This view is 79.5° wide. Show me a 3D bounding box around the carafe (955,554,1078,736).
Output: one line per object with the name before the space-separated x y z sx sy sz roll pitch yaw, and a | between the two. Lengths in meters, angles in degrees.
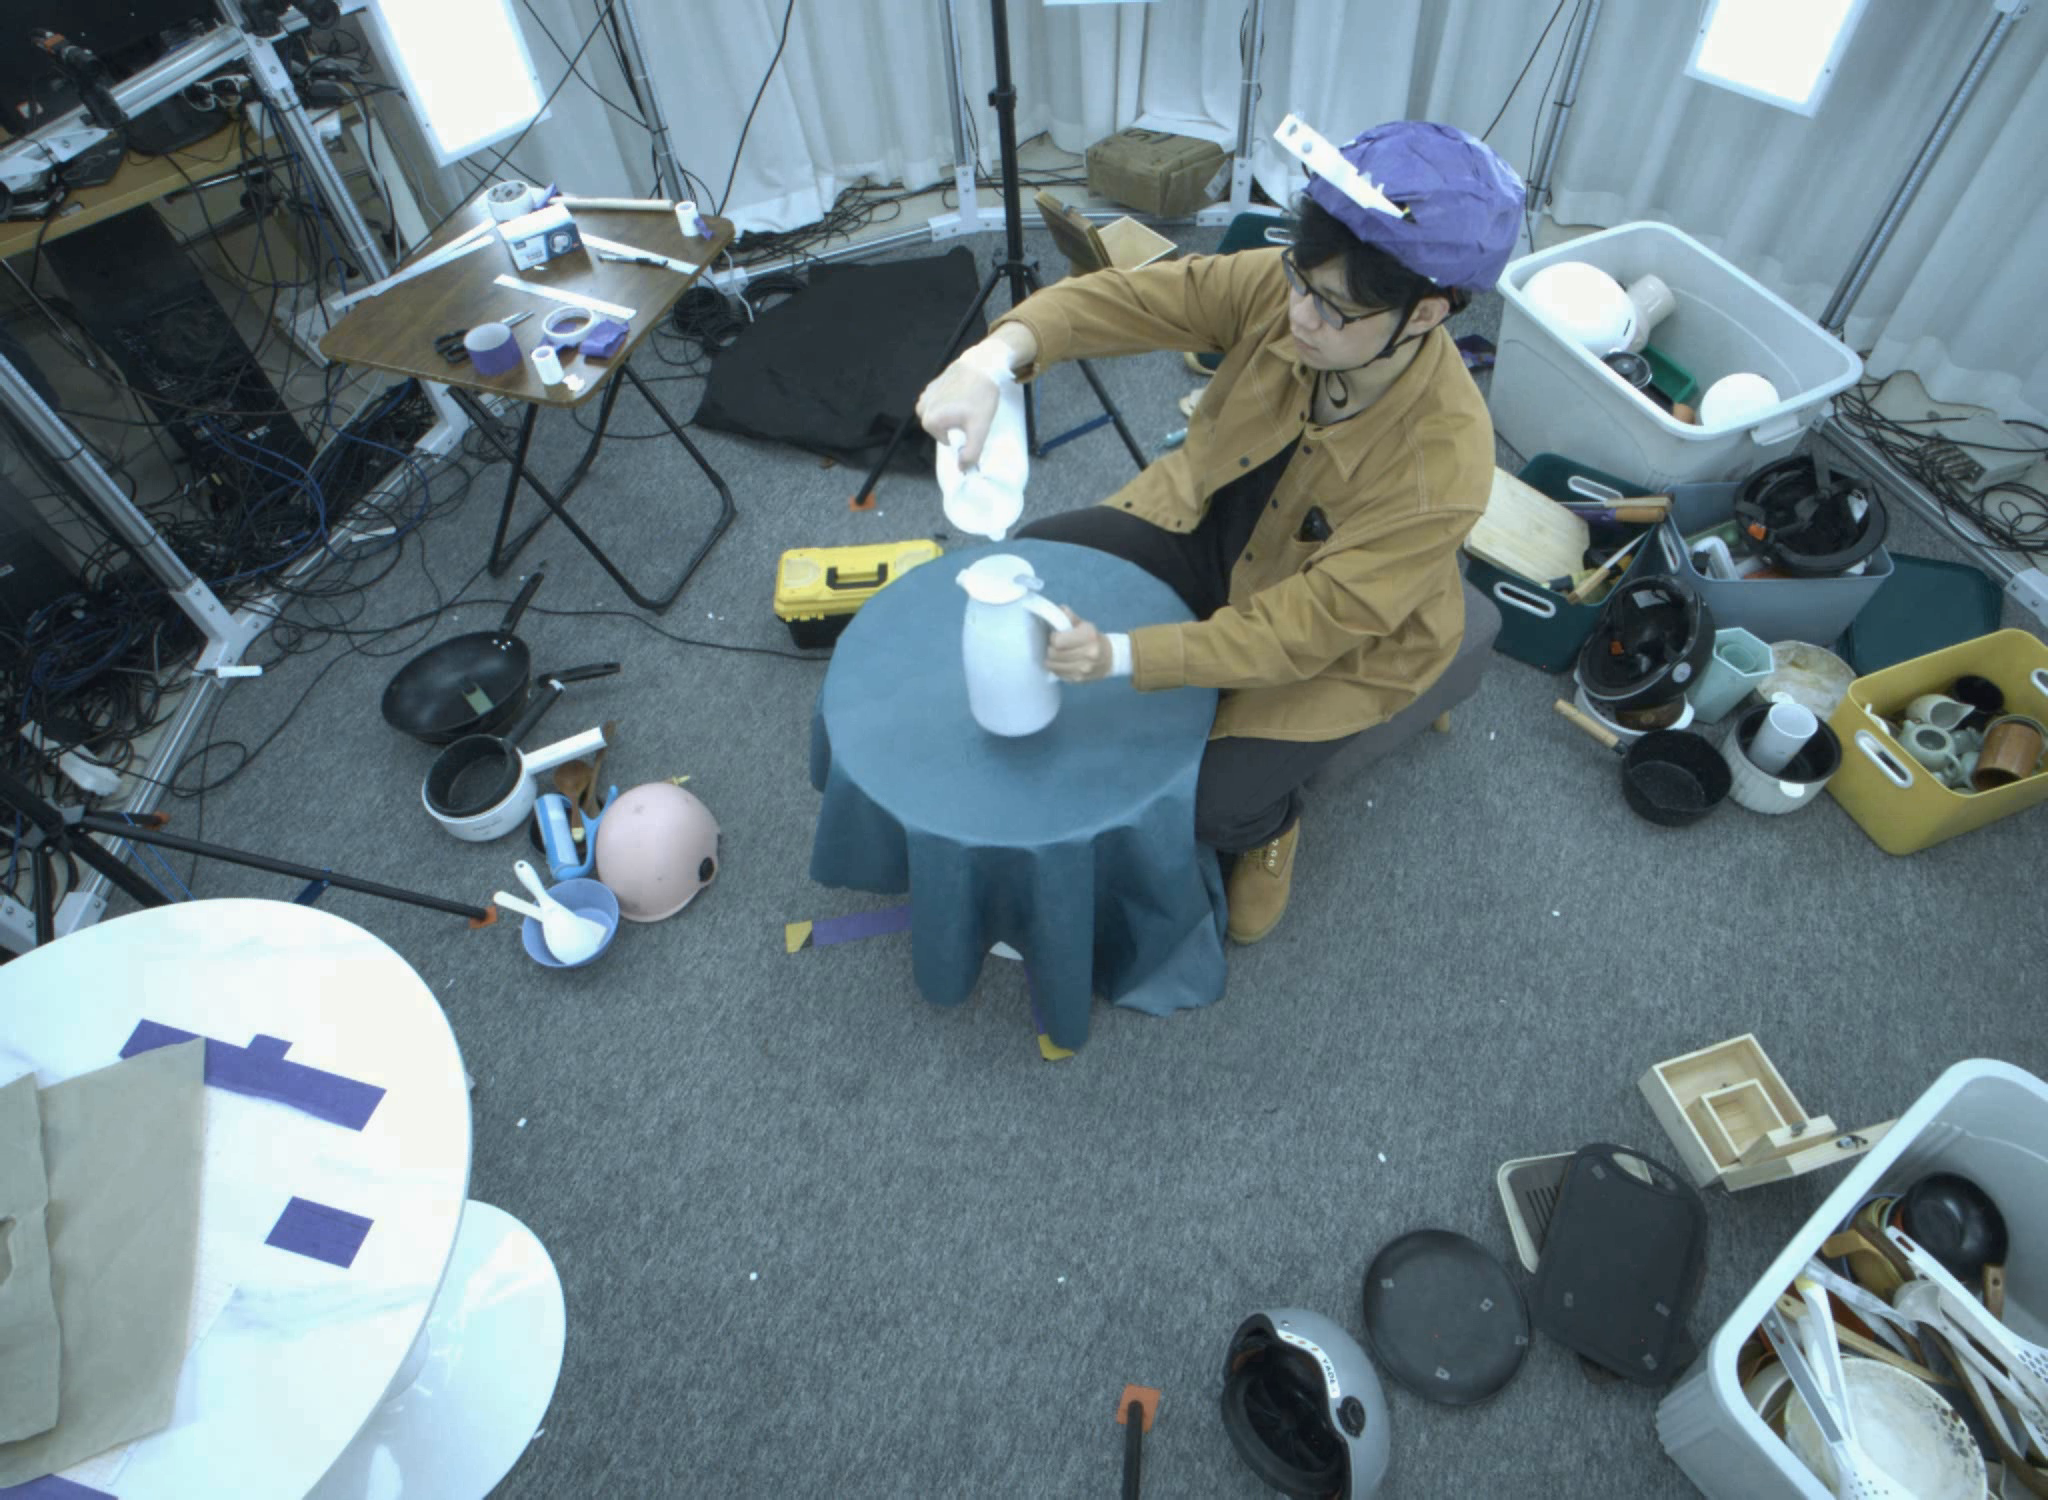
carafe | -0.005 -0.143 1.653 0.165 0.251 0.133 19 56 19

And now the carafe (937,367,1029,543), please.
carafe | -0.063 -0.408 1.563 0.123 0.176 0.266 -12 47 13
